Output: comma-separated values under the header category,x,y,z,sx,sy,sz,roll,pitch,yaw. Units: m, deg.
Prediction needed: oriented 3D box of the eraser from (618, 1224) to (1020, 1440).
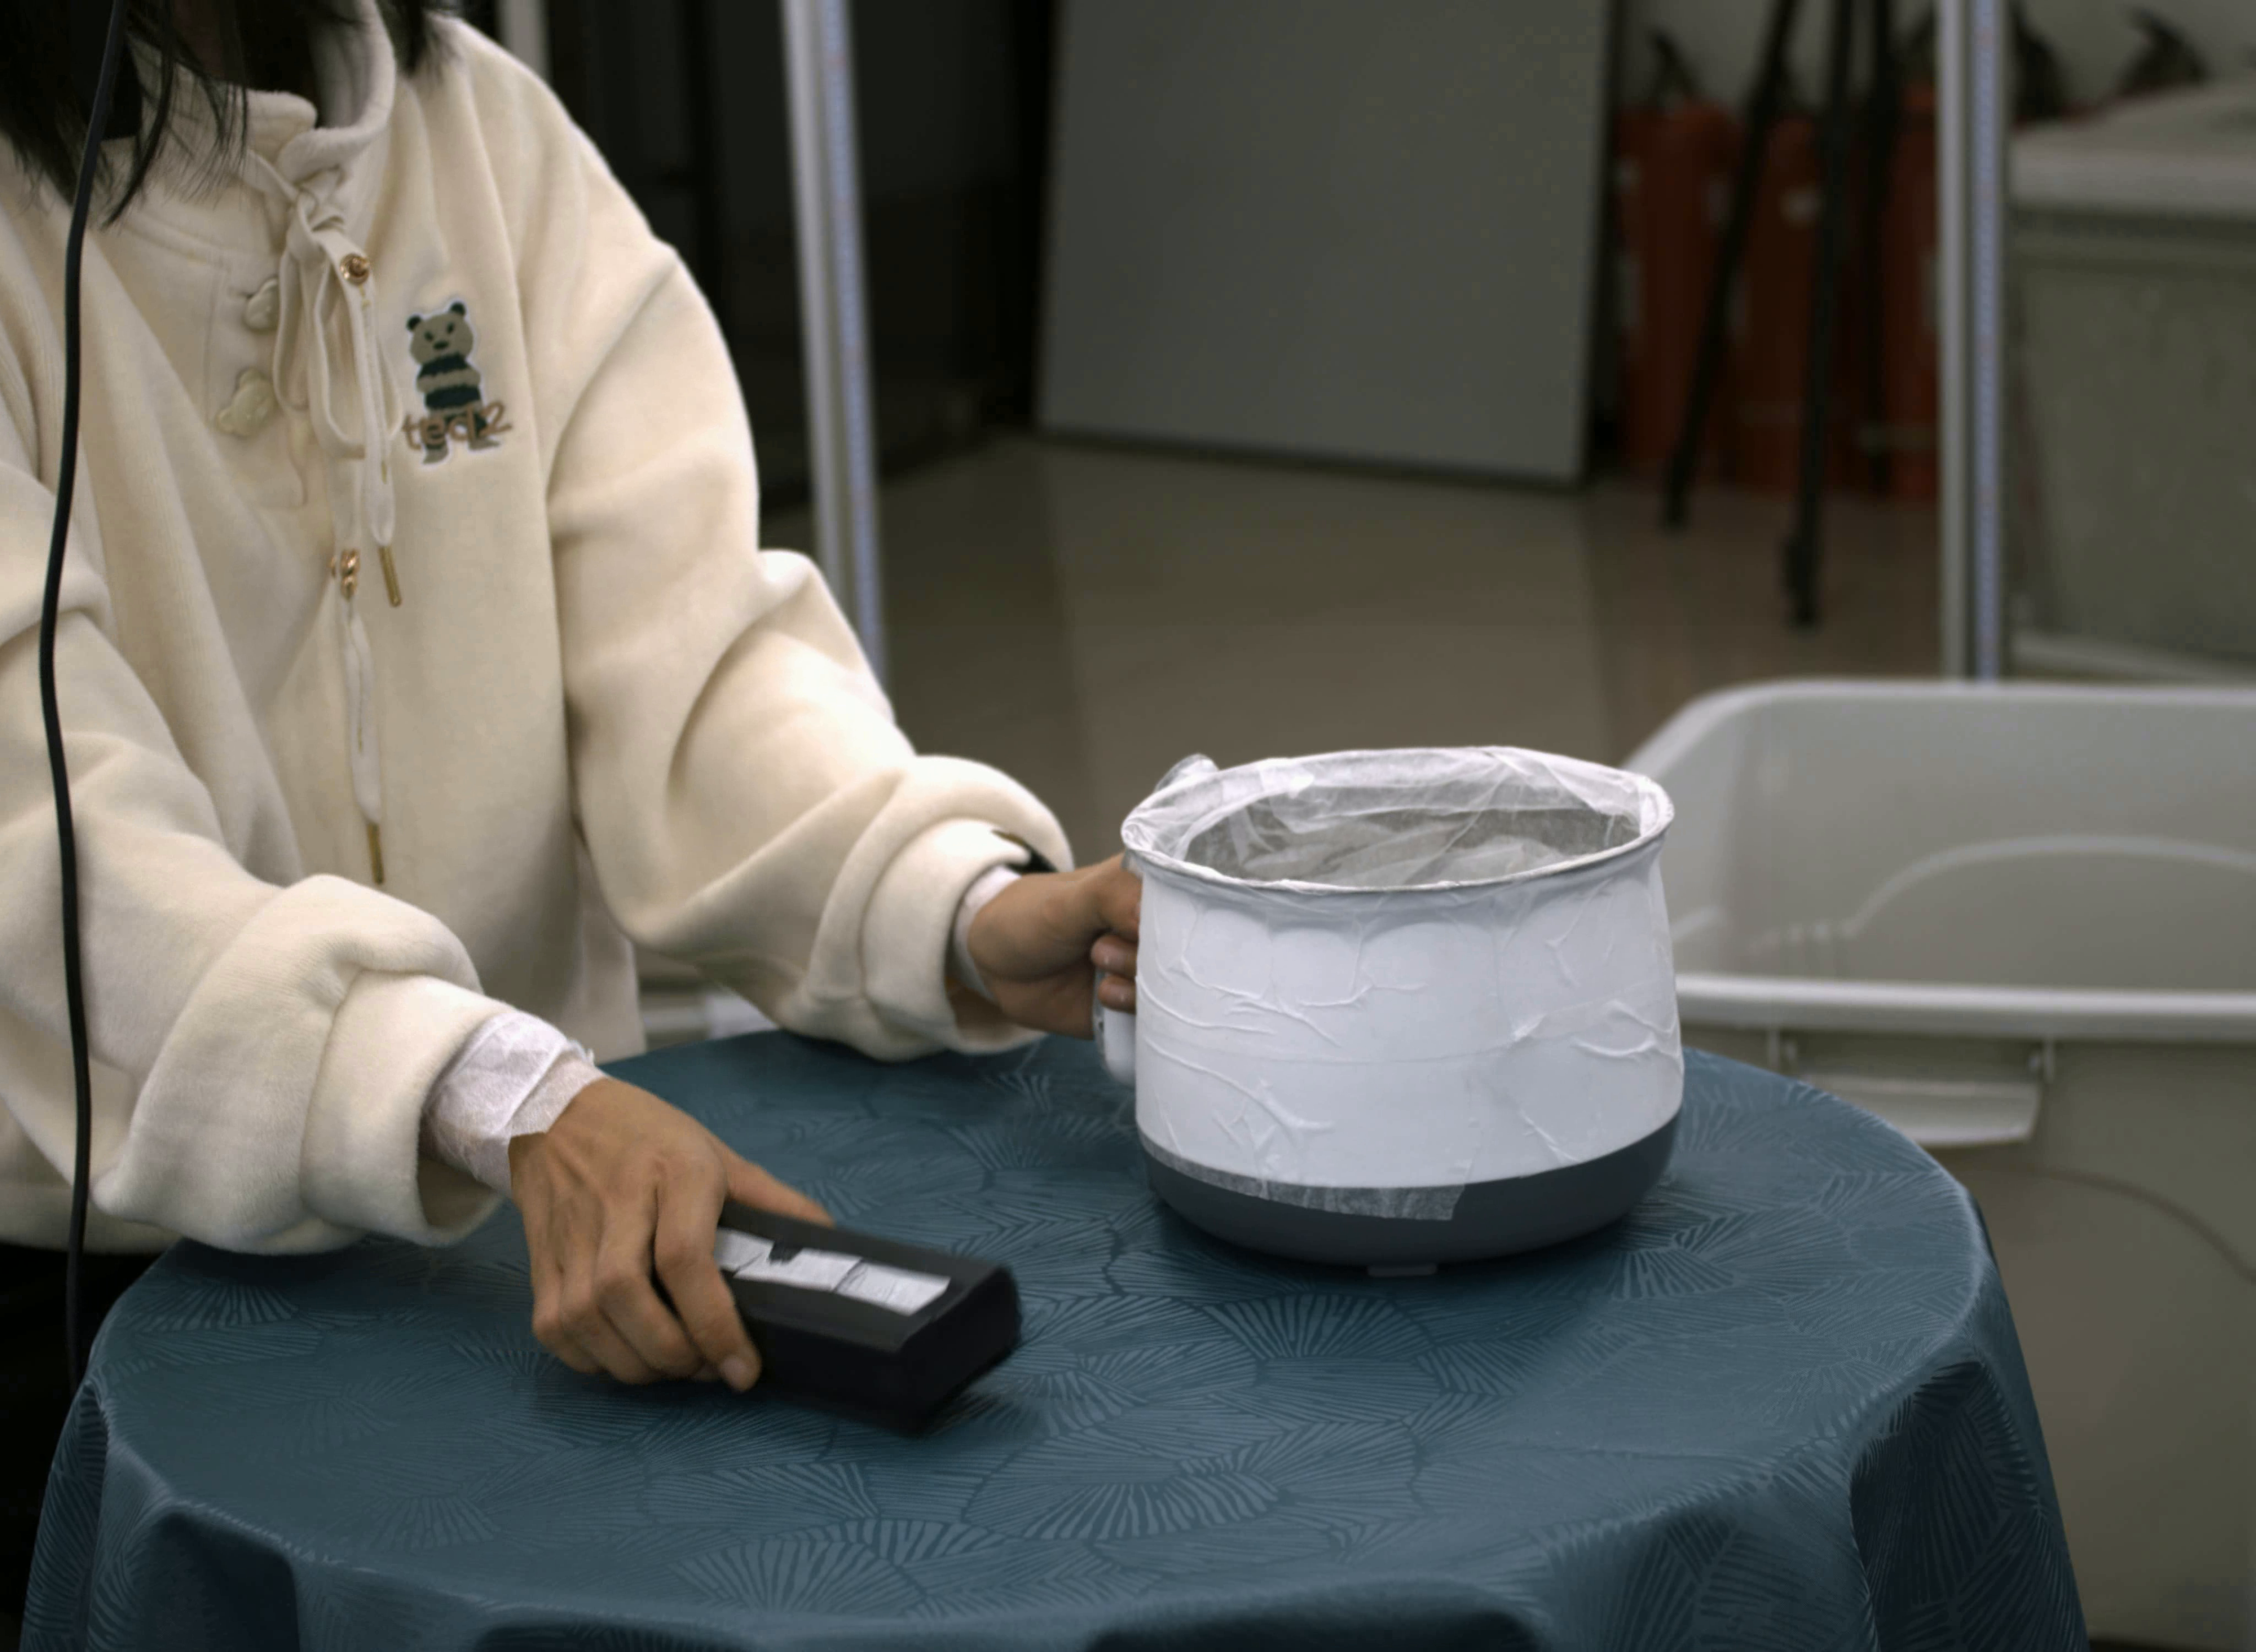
category,x,y,z,sx,sy,sz,roll,pitch,yaw
eraser,-0.091,0.149,1.601,0.127,0.030,0.052,8,30,45

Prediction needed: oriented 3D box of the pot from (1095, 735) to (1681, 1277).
category,x,y,z,sx,sy,sz,roll,pitch,yaw
pot,0.070,0.051,1.737,0.175,0.138,0.236,-14,18,-38
